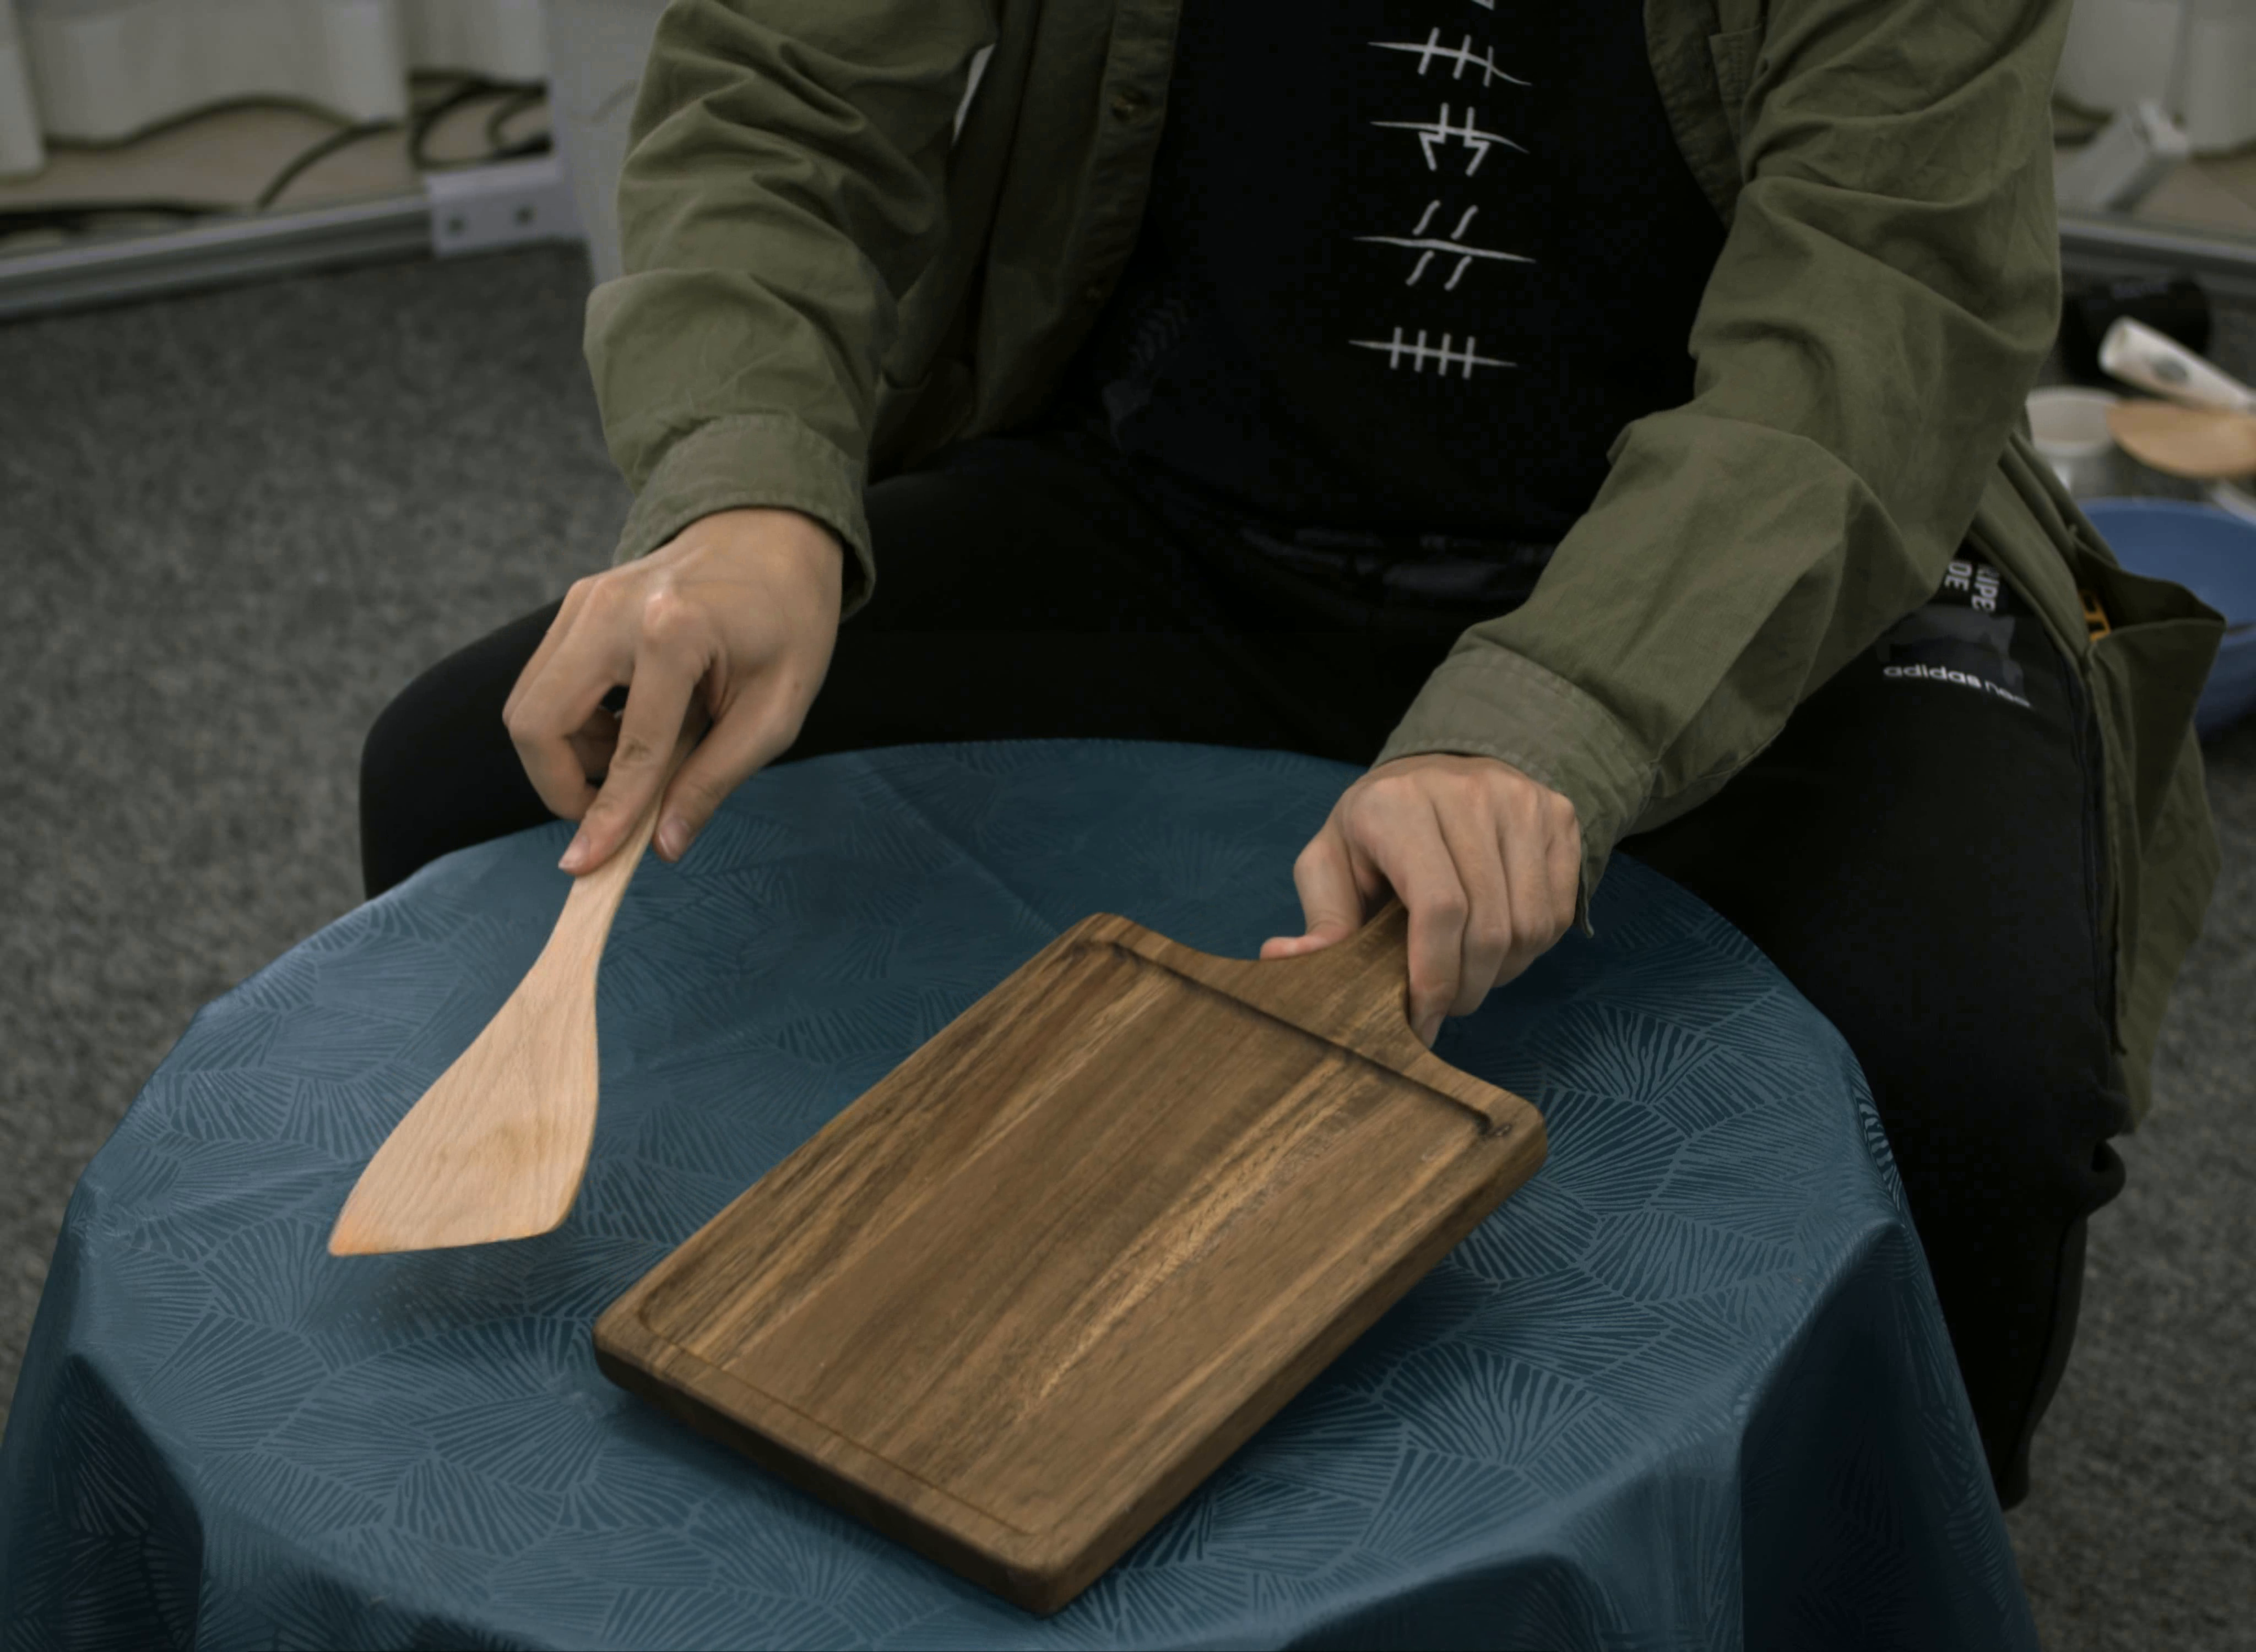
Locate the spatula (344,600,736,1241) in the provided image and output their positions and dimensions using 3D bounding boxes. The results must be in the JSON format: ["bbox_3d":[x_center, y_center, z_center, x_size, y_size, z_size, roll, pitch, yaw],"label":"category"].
[{"bbox_3d":[-0.183,0.027,1.909,0.079,0.016,0.334,-1,41,15],"label":"spatula"}]

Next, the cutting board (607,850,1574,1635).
[{"bbox_3d":[0.022,0.109,1.784,0.201,0.023,0.357,24,47,35],"label":"cutting board"}]
